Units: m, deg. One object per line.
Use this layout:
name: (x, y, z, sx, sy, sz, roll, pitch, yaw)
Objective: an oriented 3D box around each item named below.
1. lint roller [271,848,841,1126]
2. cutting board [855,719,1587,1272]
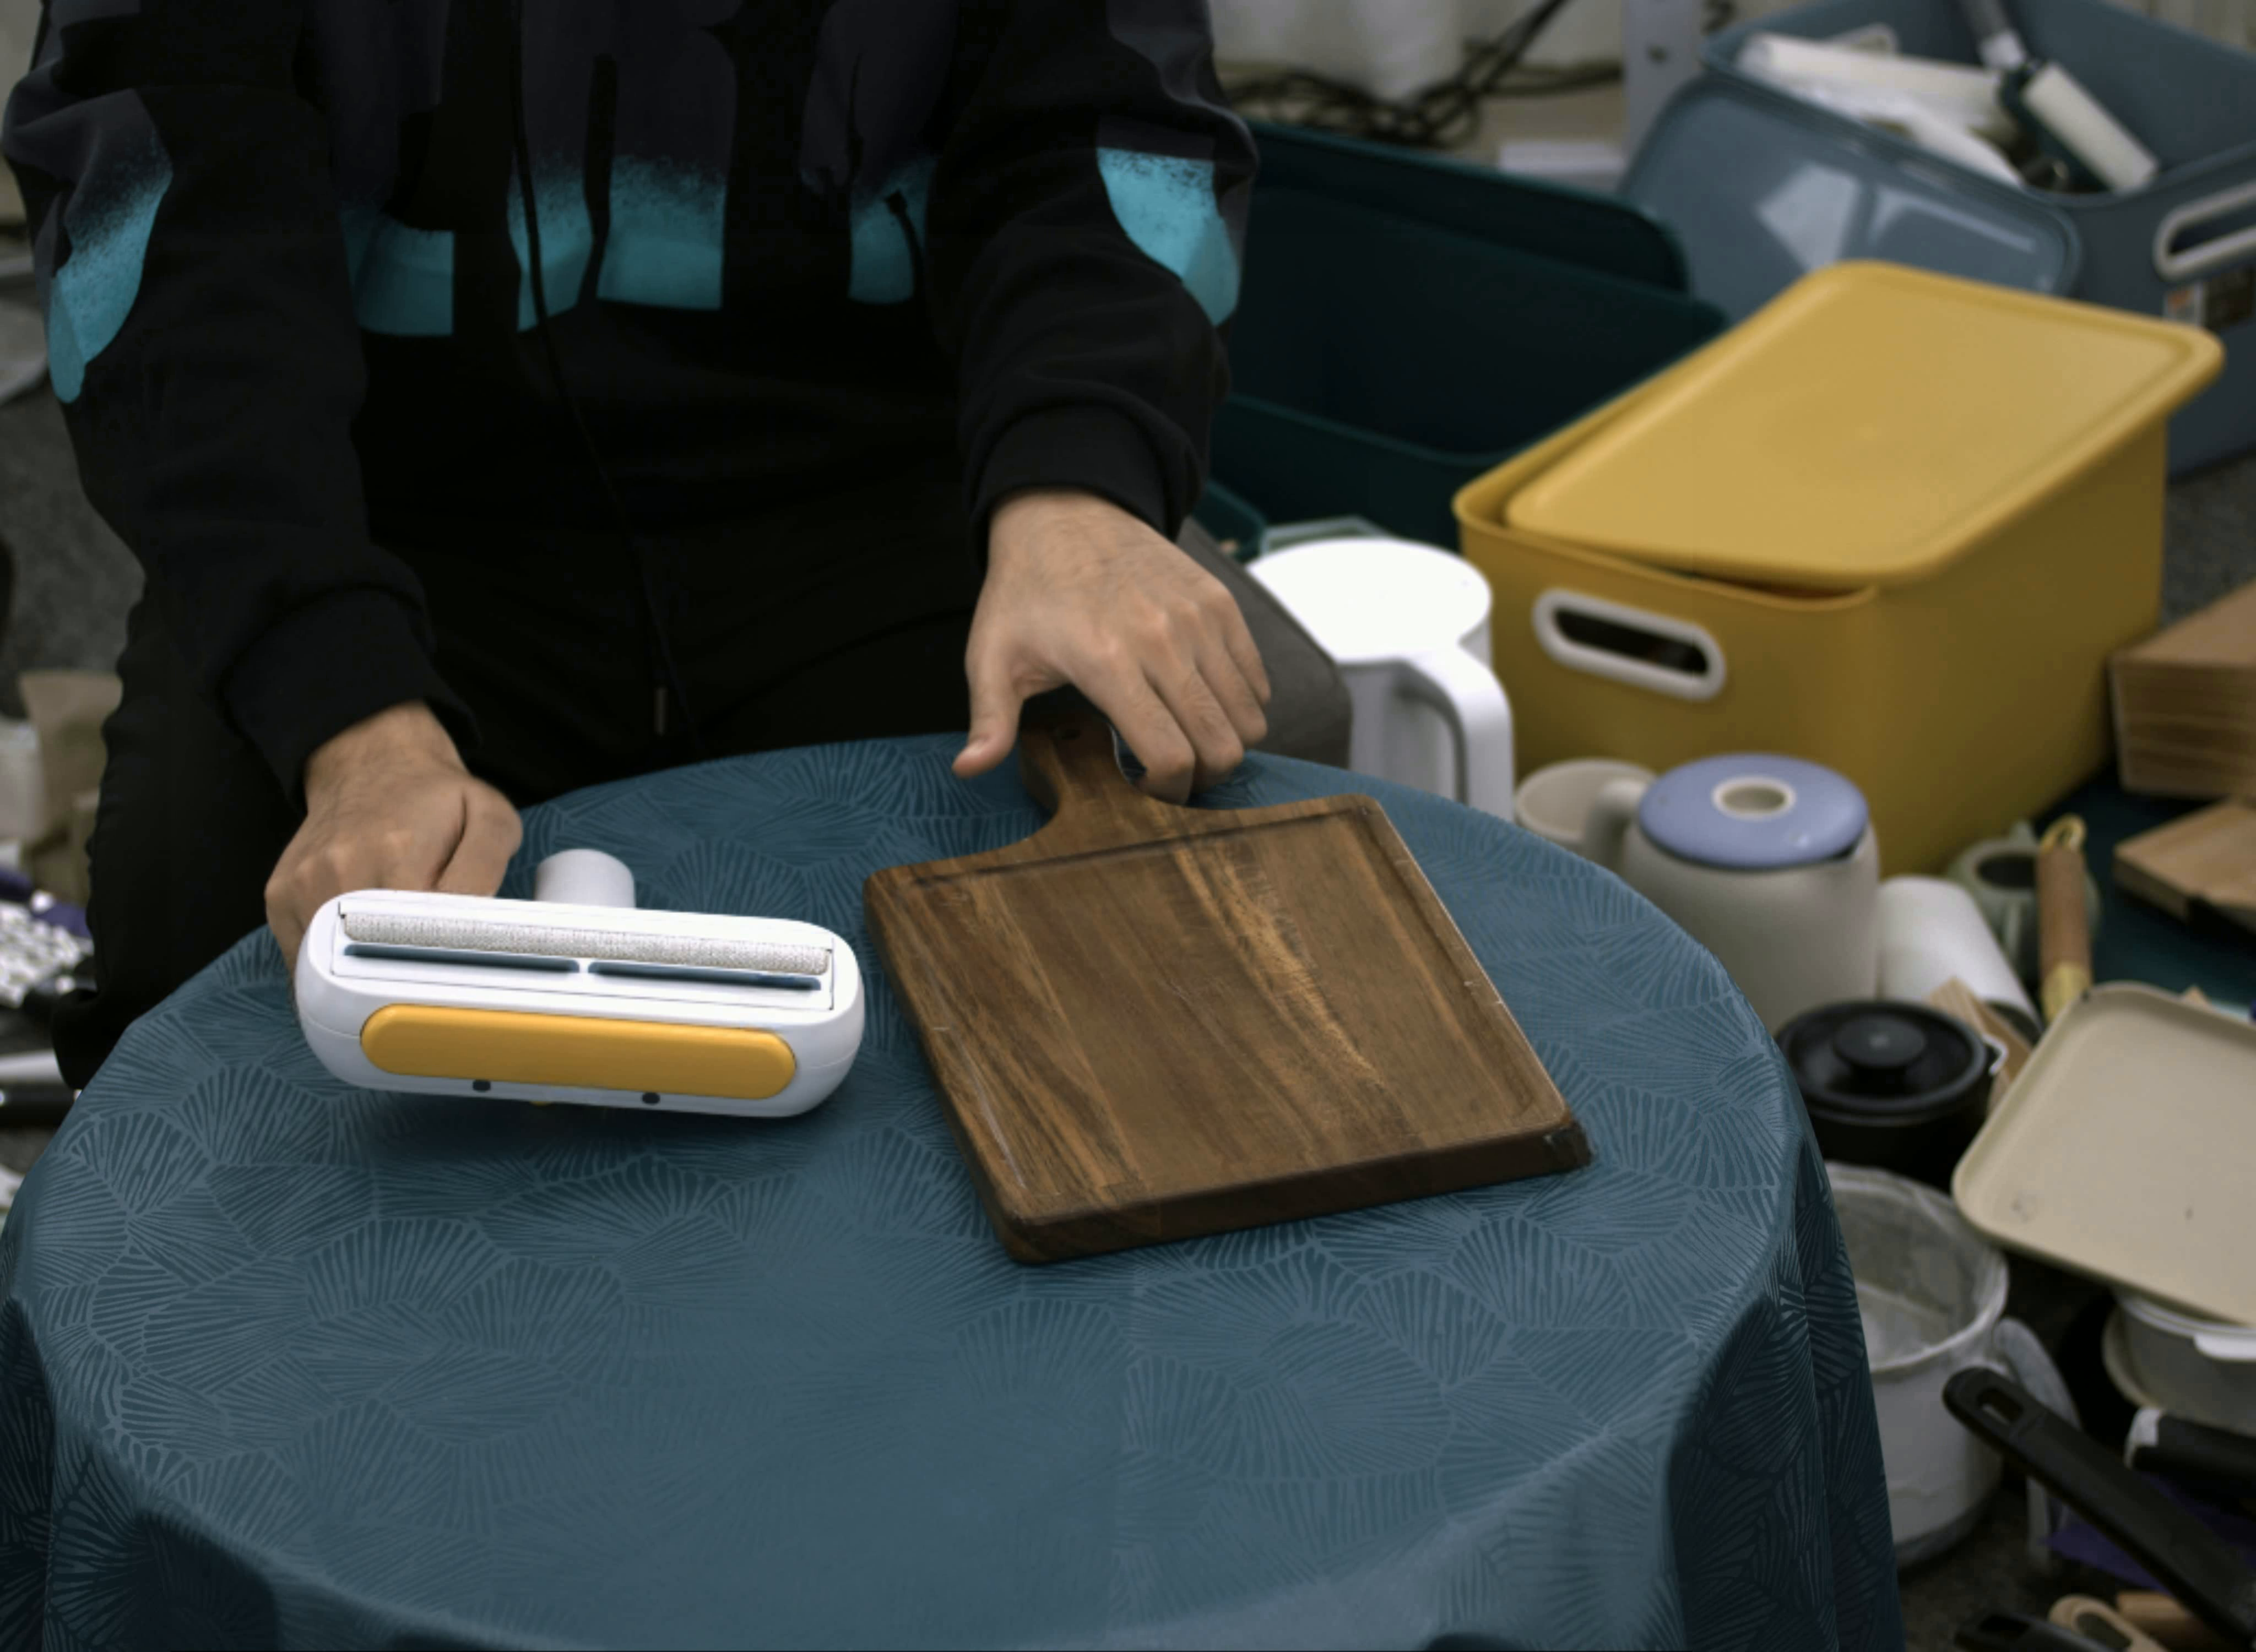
lint roller: (-0.194, 0.042, 1.961, 0.192, 0.073, 0.195, 2, 26, -2)
cutting board: (0.015, 0.045, 1.985, 0.201, 0.023, 0.356, -9, 28, -11)
